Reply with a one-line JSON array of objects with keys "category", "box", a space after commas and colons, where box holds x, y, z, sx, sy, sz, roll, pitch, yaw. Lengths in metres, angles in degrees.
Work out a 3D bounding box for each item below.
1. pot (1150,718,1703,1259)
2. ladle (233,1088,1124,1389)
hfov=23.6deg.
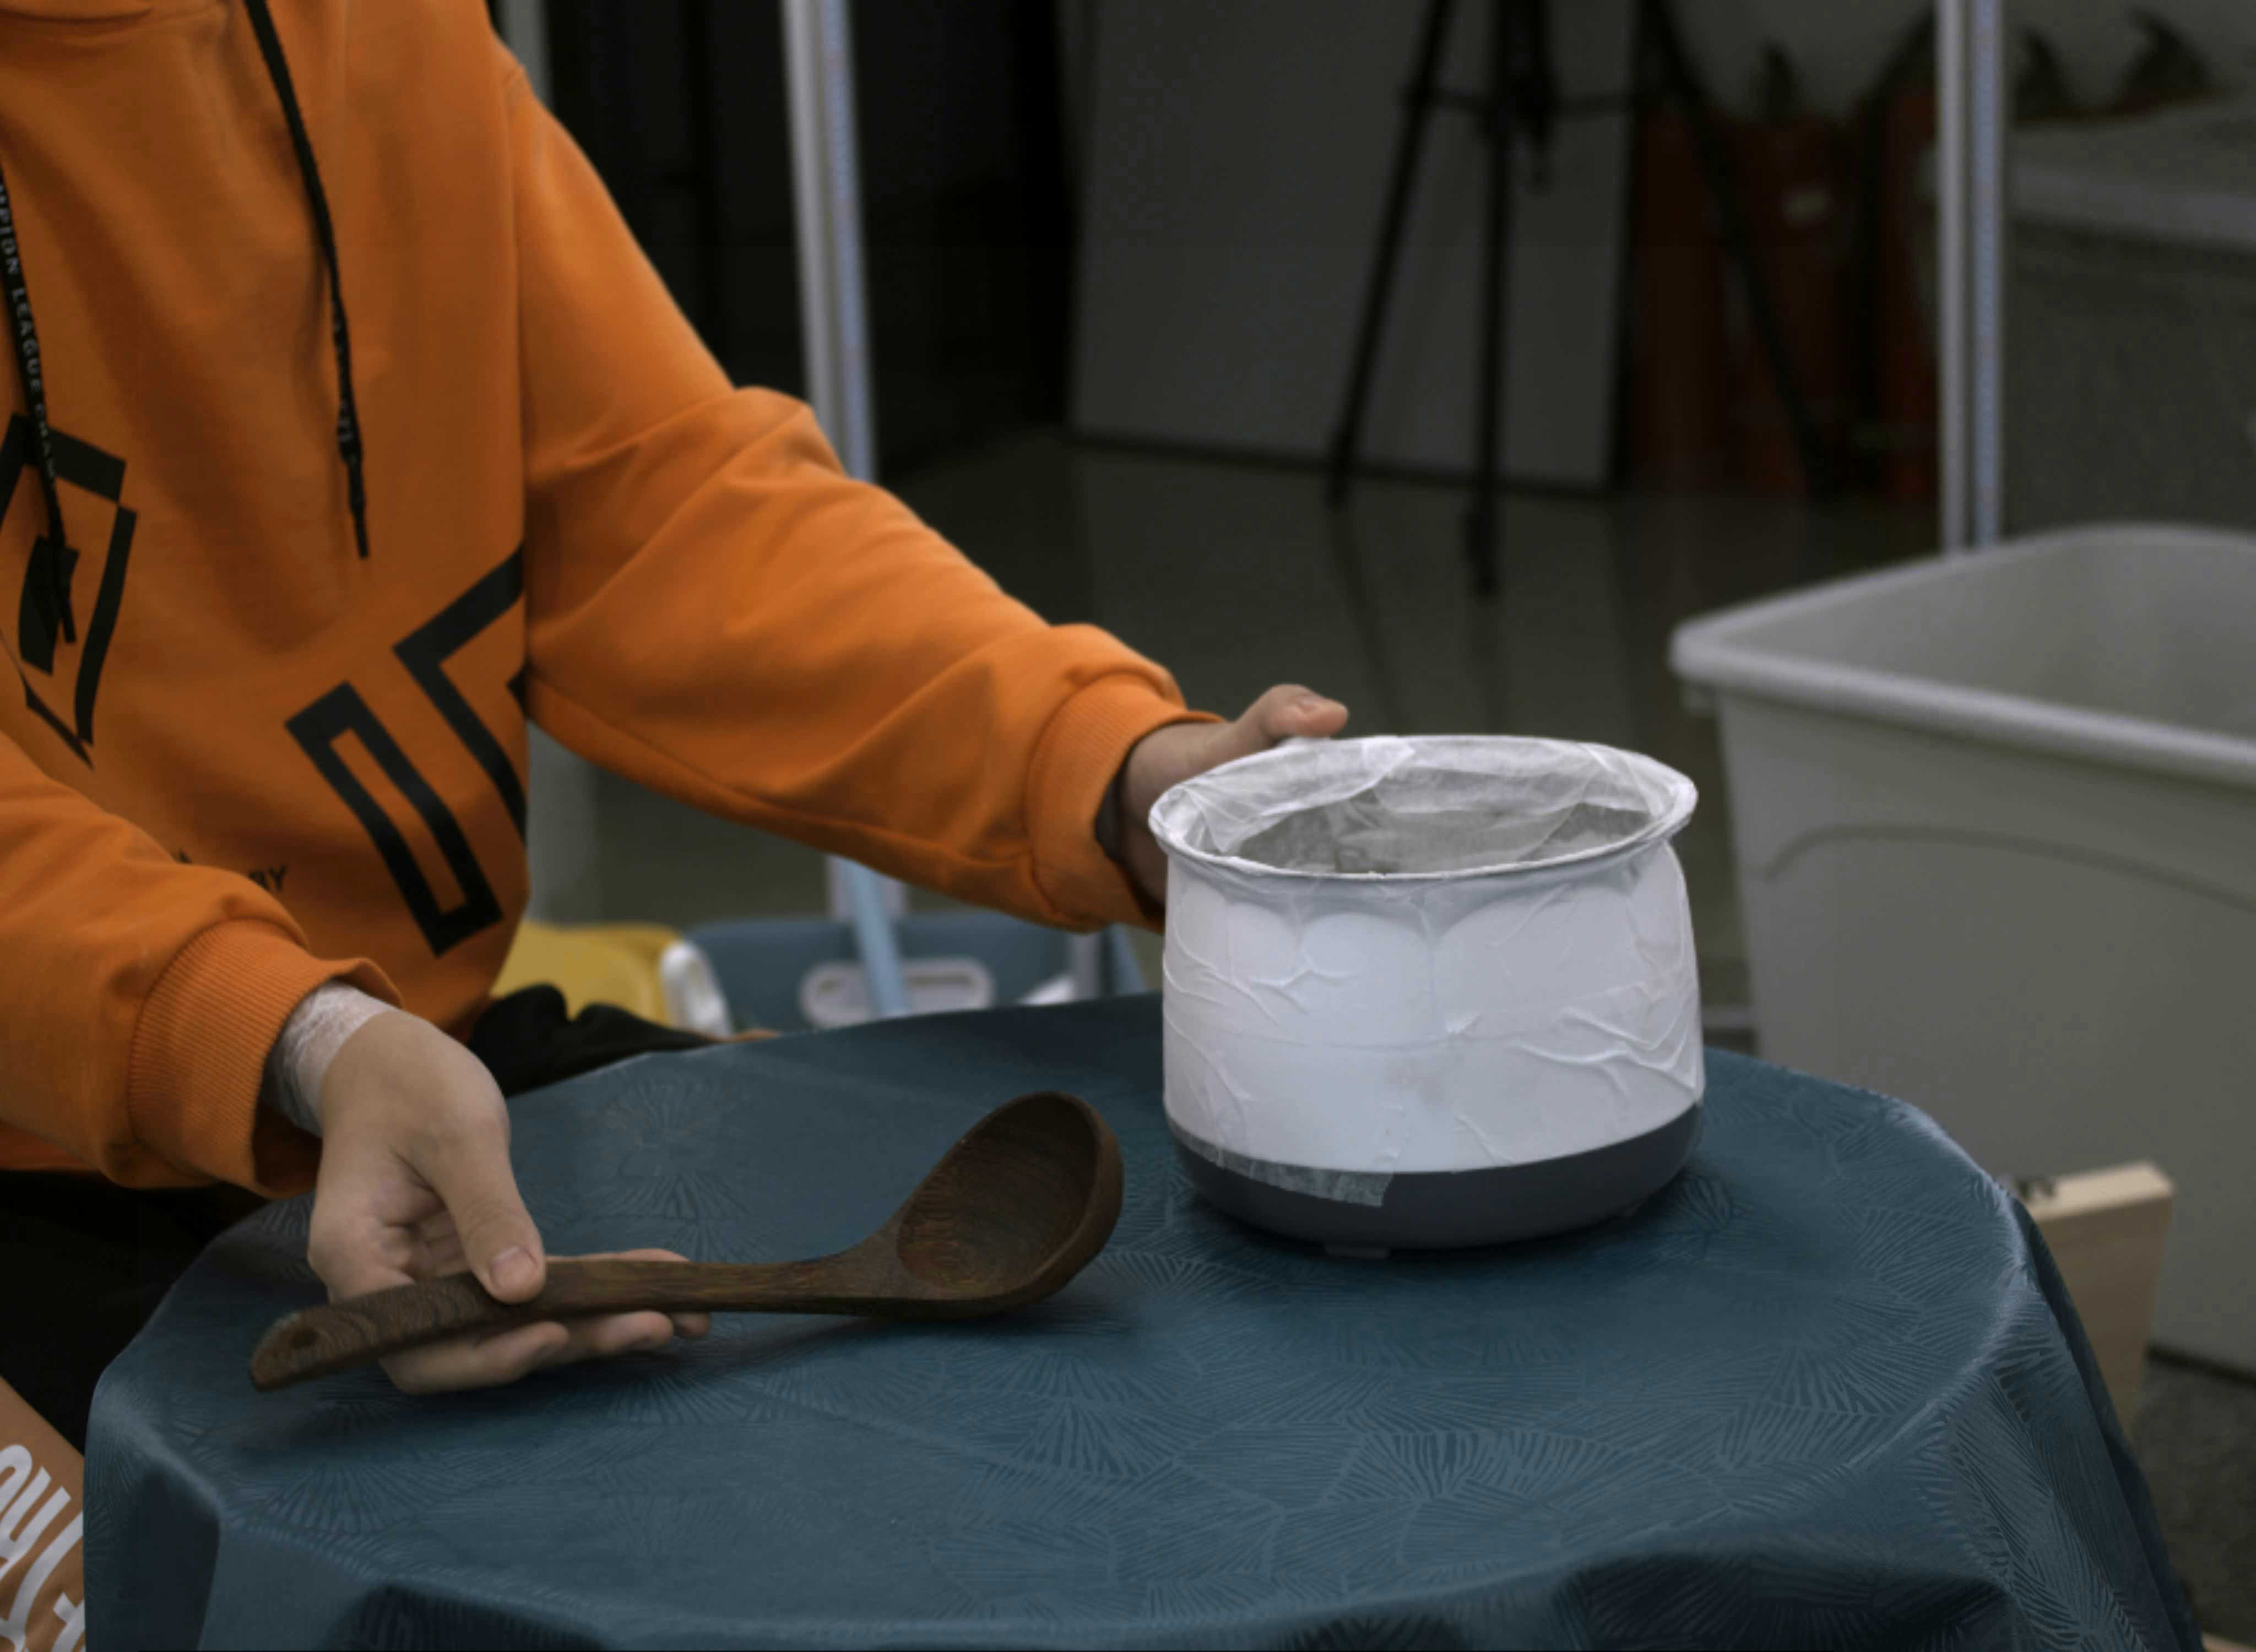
[{"category": "pot", "box": [0.087, 0.046, 1.758, 0.175, 0.138, 0.236, -8, 15, -19]}, {"category": "ladle", "box": [-0.132, 0.123, 1.623, 0.268, 0.072, 0.077, -3, 29, -21]}]
